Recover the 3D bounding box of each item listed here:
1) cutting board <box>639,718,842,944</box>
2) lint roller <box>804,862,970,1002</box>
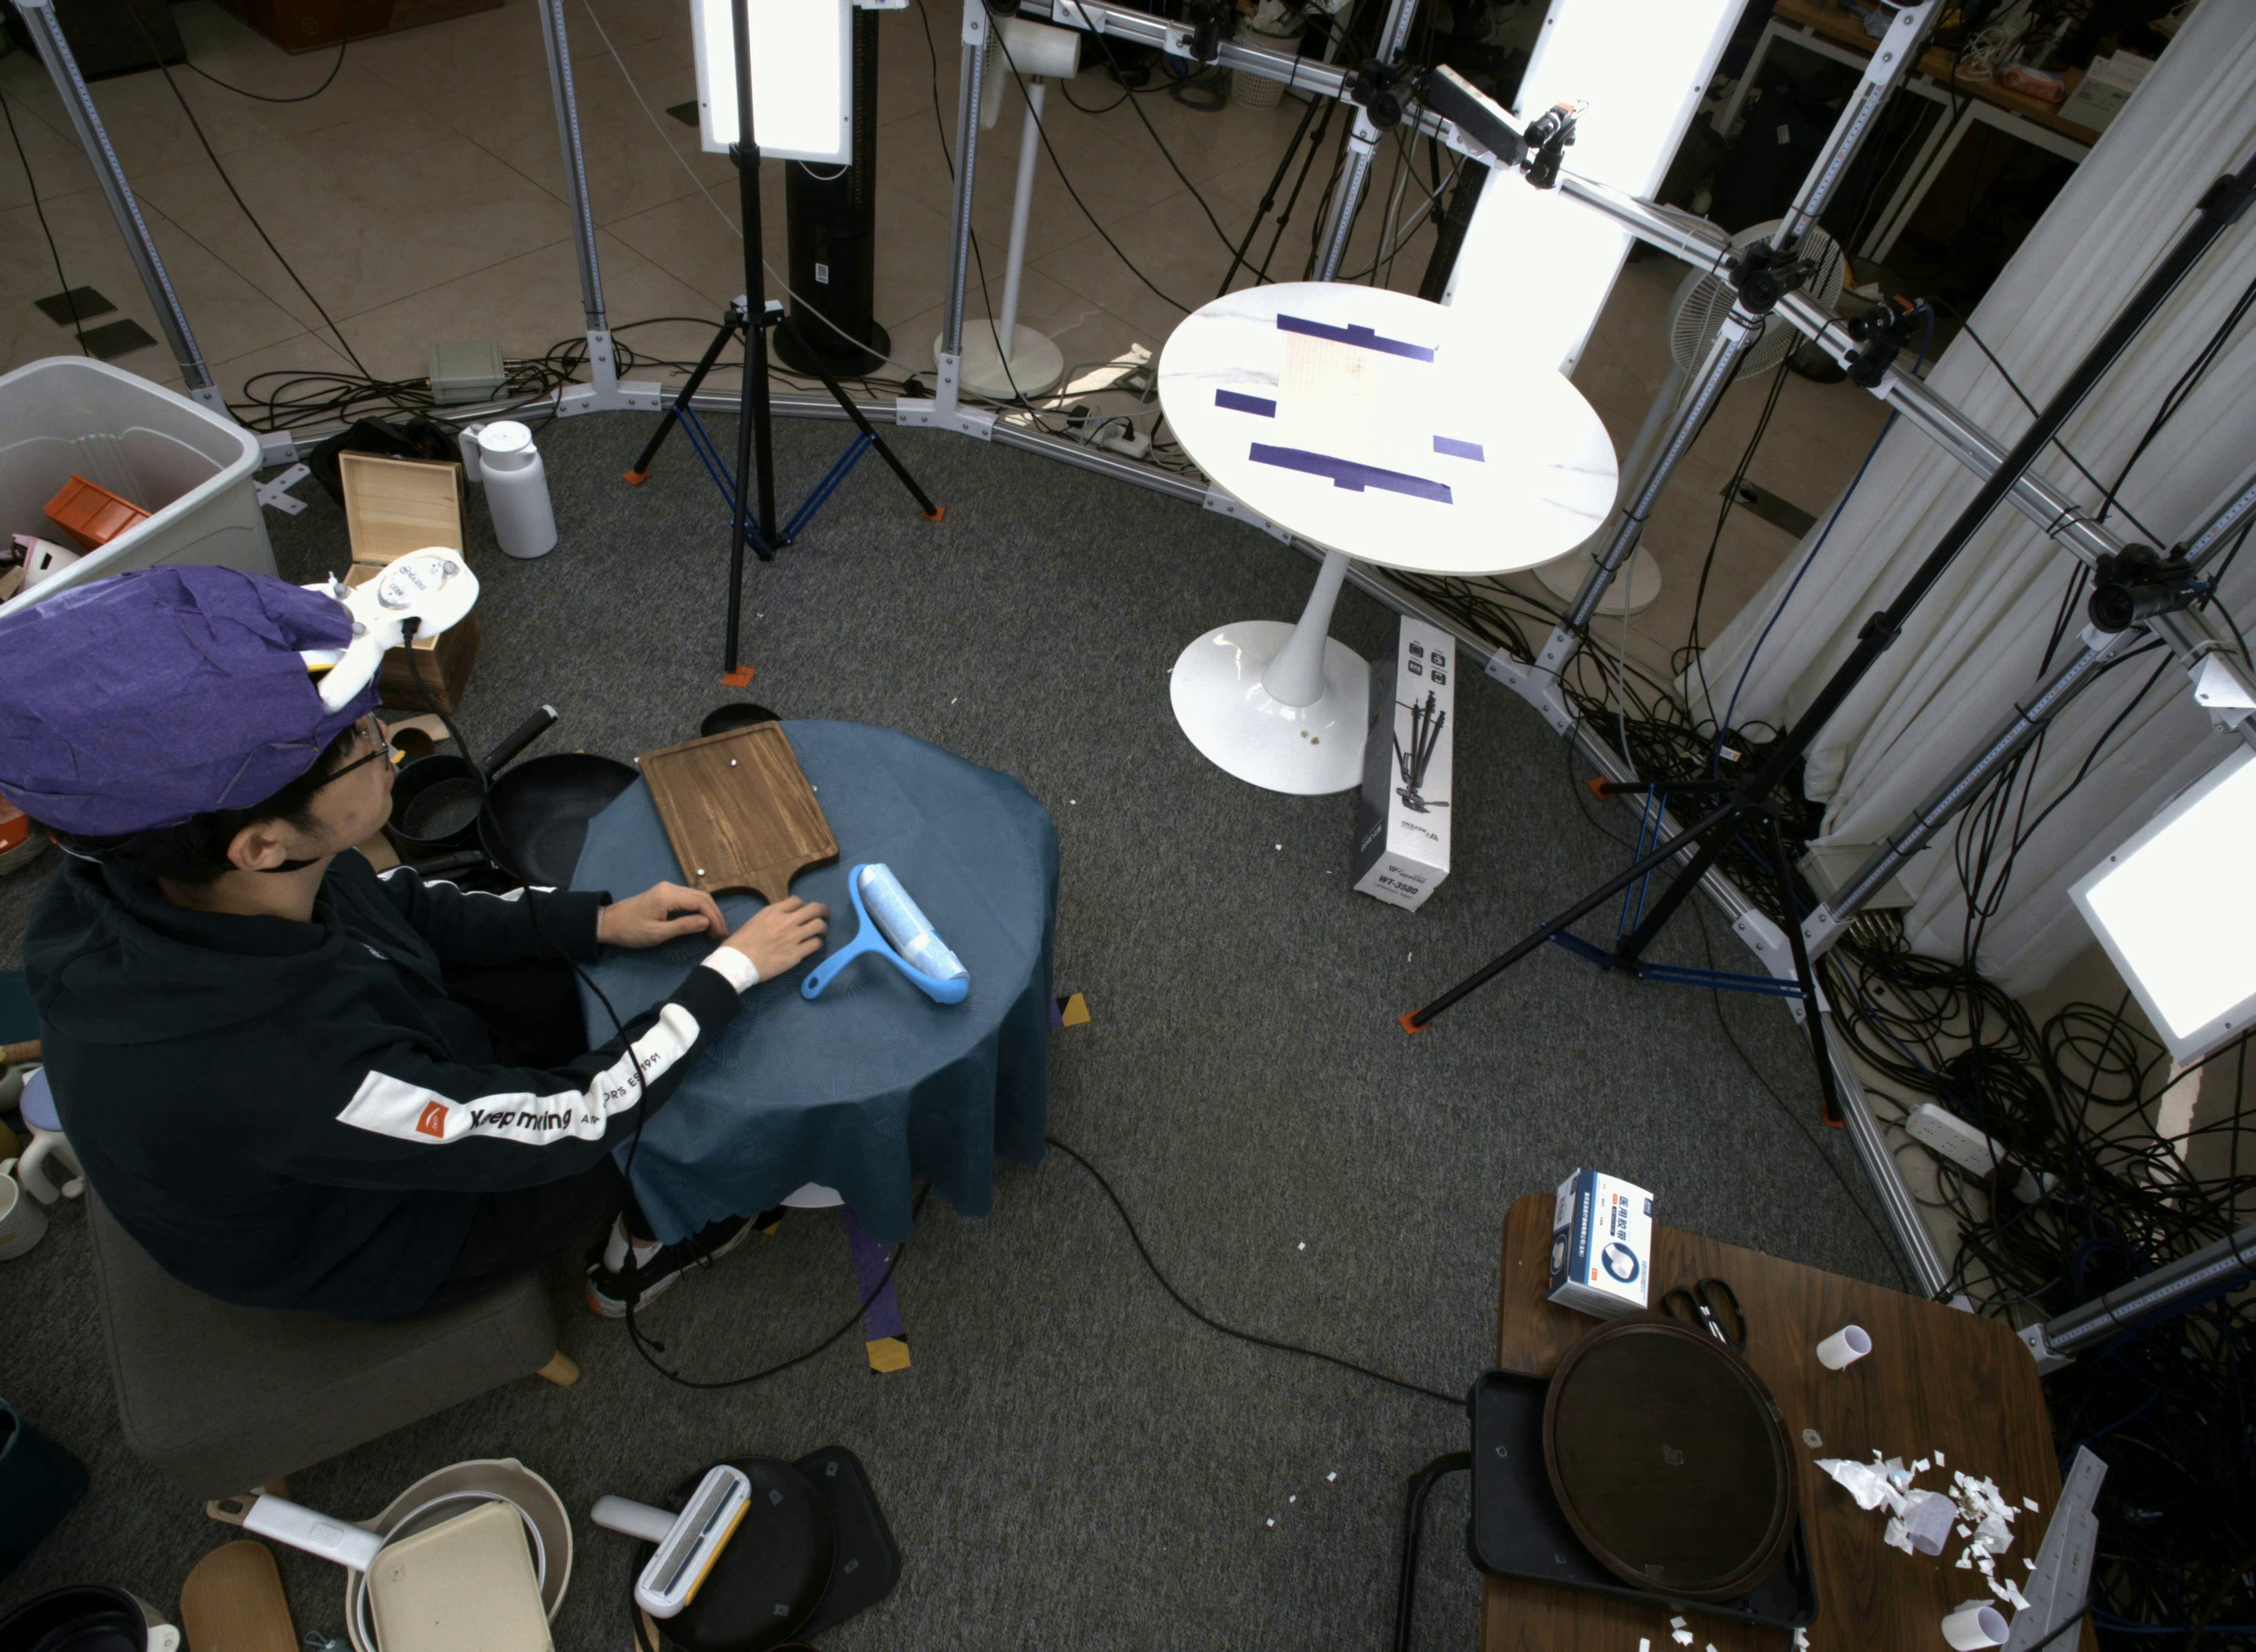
[{"bbox_3d":[-0.494,0.010,1.690,0.202,0.023,0.343,-19,61,-26],"label":"cutting board"},{"bbox_3d":[-0.318,0.154,1.607,0.181,0.069,0.224,-31,68,-33],"label":"lint roller"}]
